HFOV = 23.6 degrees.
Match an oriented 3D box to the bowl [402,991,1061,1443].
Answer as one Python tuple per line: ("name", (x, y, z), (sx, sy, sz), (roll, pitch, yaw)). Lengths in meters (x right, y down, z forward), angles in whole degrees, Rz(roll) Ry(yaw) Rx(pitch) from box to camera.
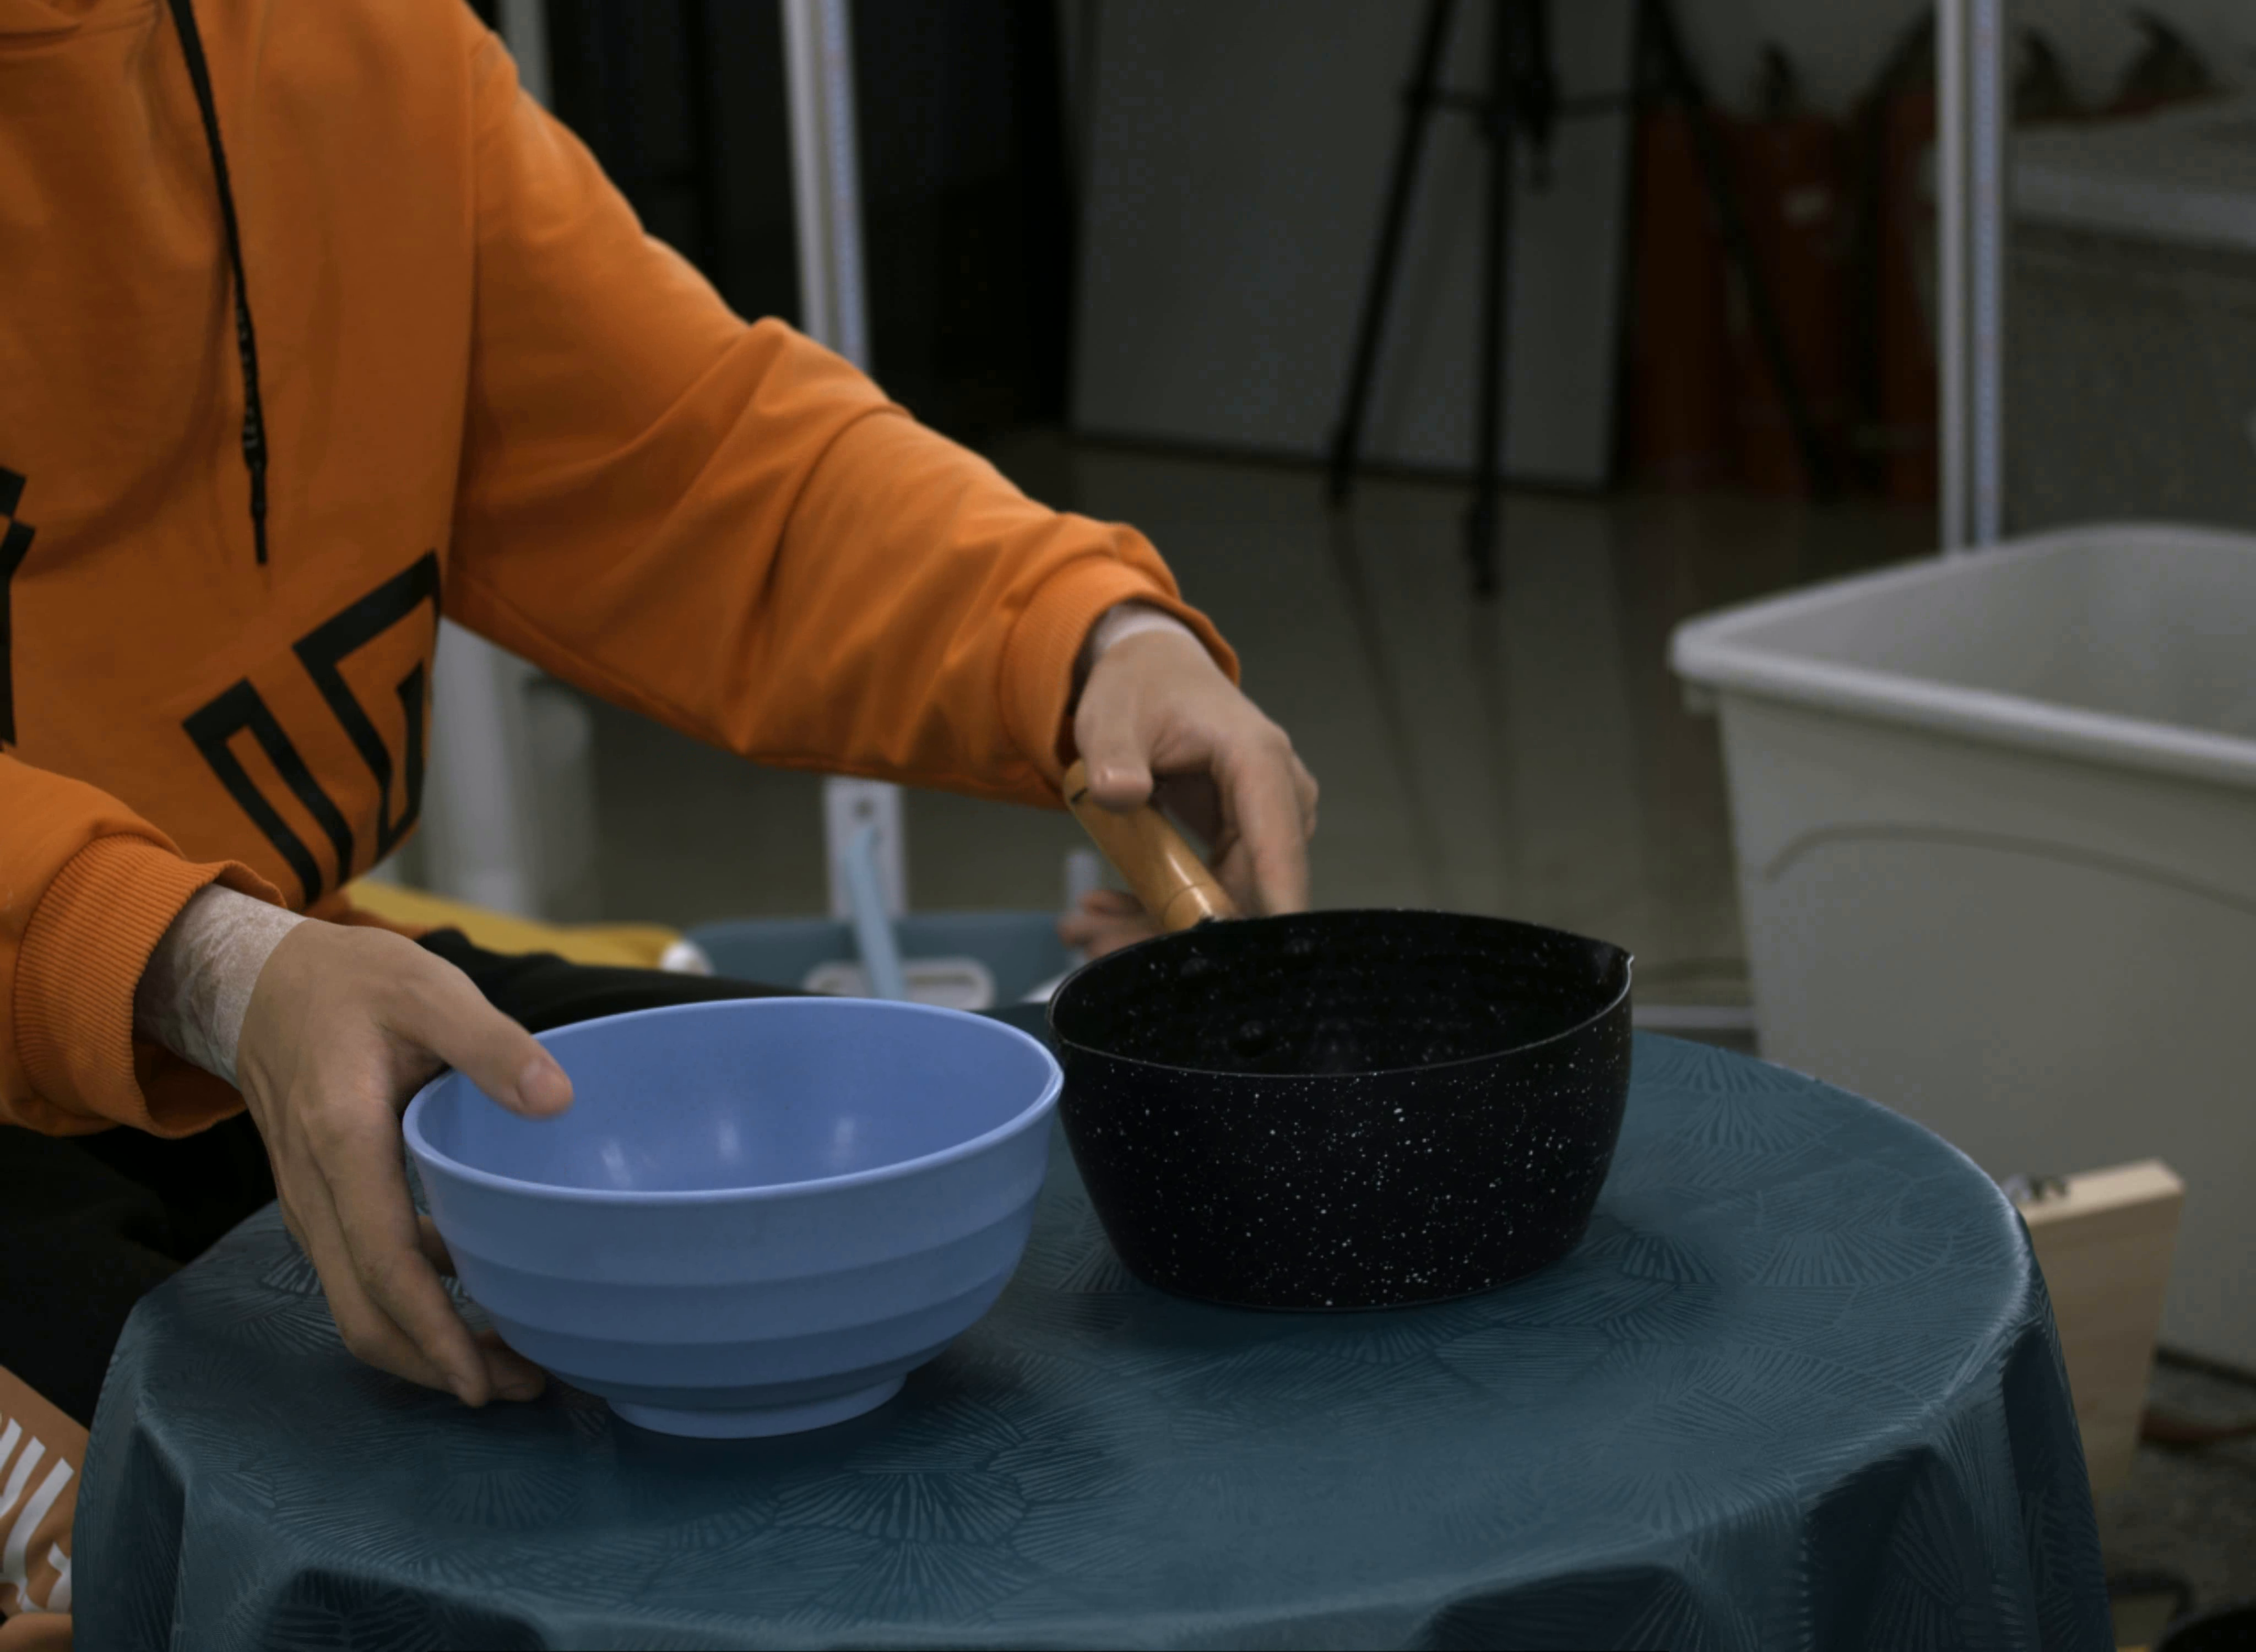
("bowl", (-0.113, 0.122, 1.601), (0.194, 0.096, 0.197), (-4, 15, 0))

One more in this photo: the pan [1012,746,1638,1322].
("pan", (0.042, 0.062, 1.770), (0.203, 0.109, 0.346), (-10, 16, -17))
